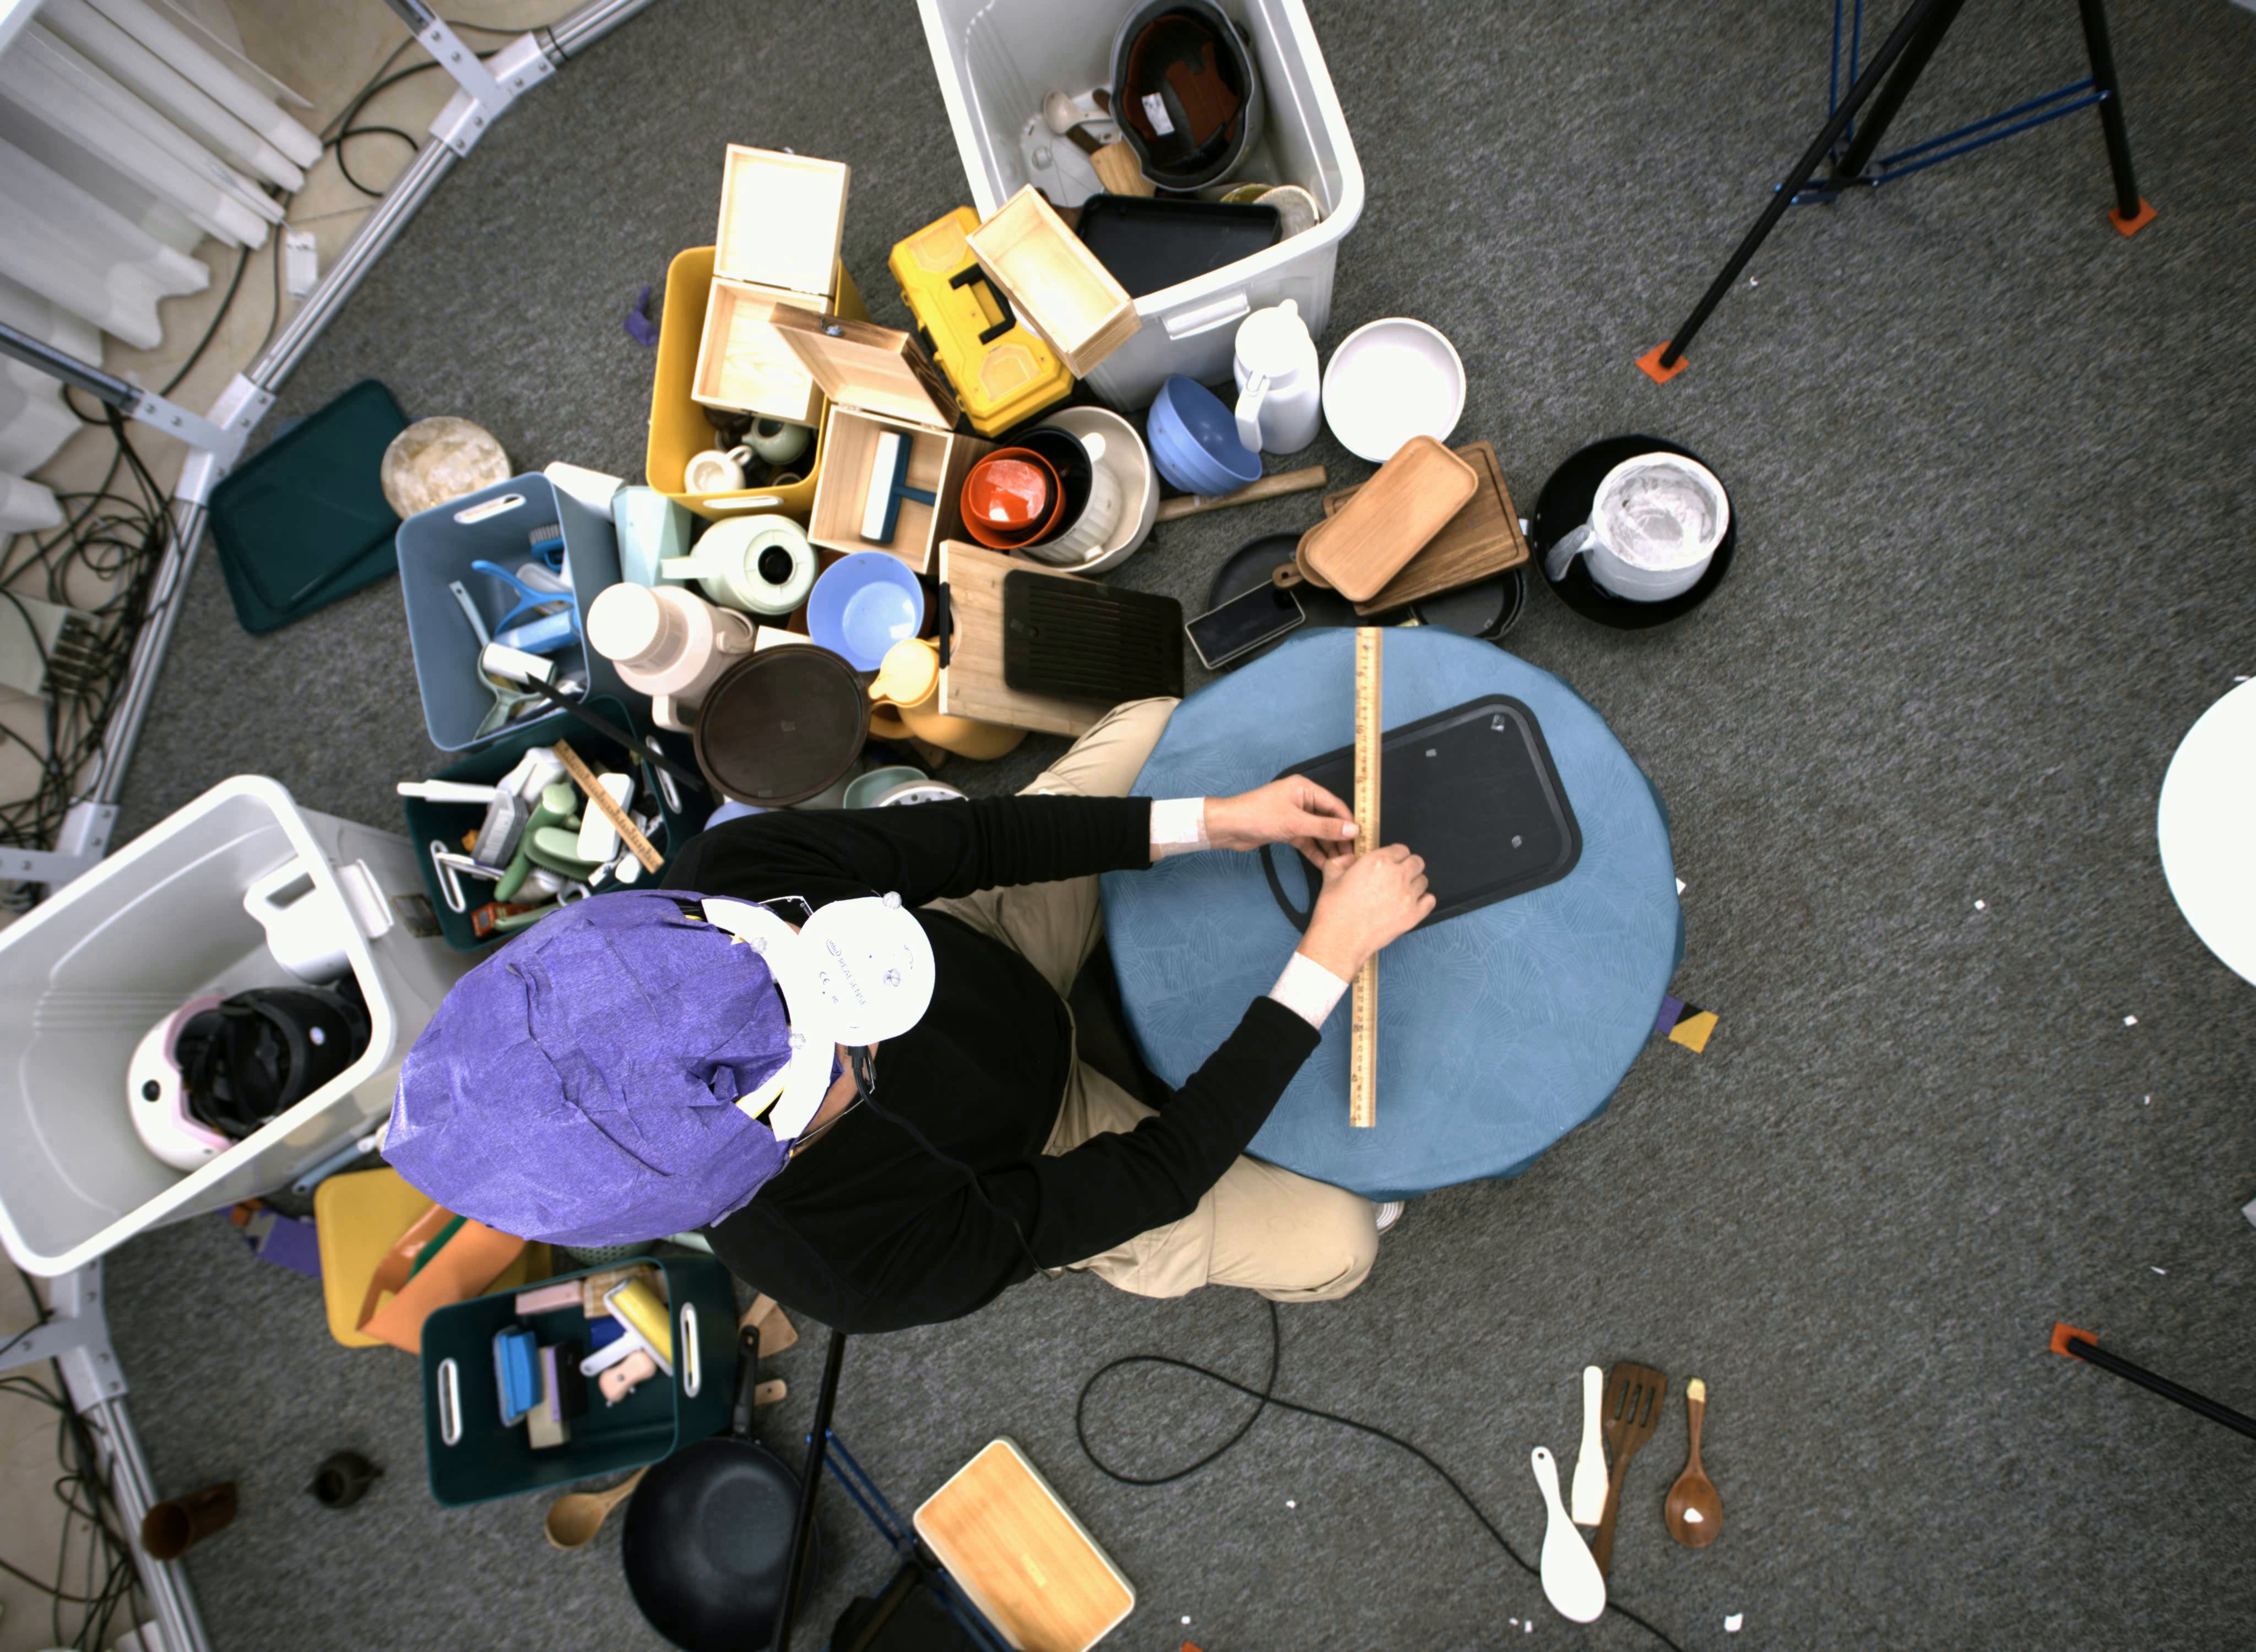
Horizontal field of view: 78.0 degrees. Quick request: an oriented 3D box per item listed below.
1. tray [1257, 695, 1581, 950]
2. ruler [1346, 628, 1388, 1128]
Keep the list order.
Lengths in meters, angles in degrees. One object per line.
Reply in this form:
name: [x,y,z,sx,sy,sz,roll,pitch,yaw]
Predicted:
tray: [0.299,-0.001,1.455,0.327,0.010,0.210,-19,83,9]
ruler: [0.238,0.053,1.374,0.027,0.006,0.502,3,96,13]
